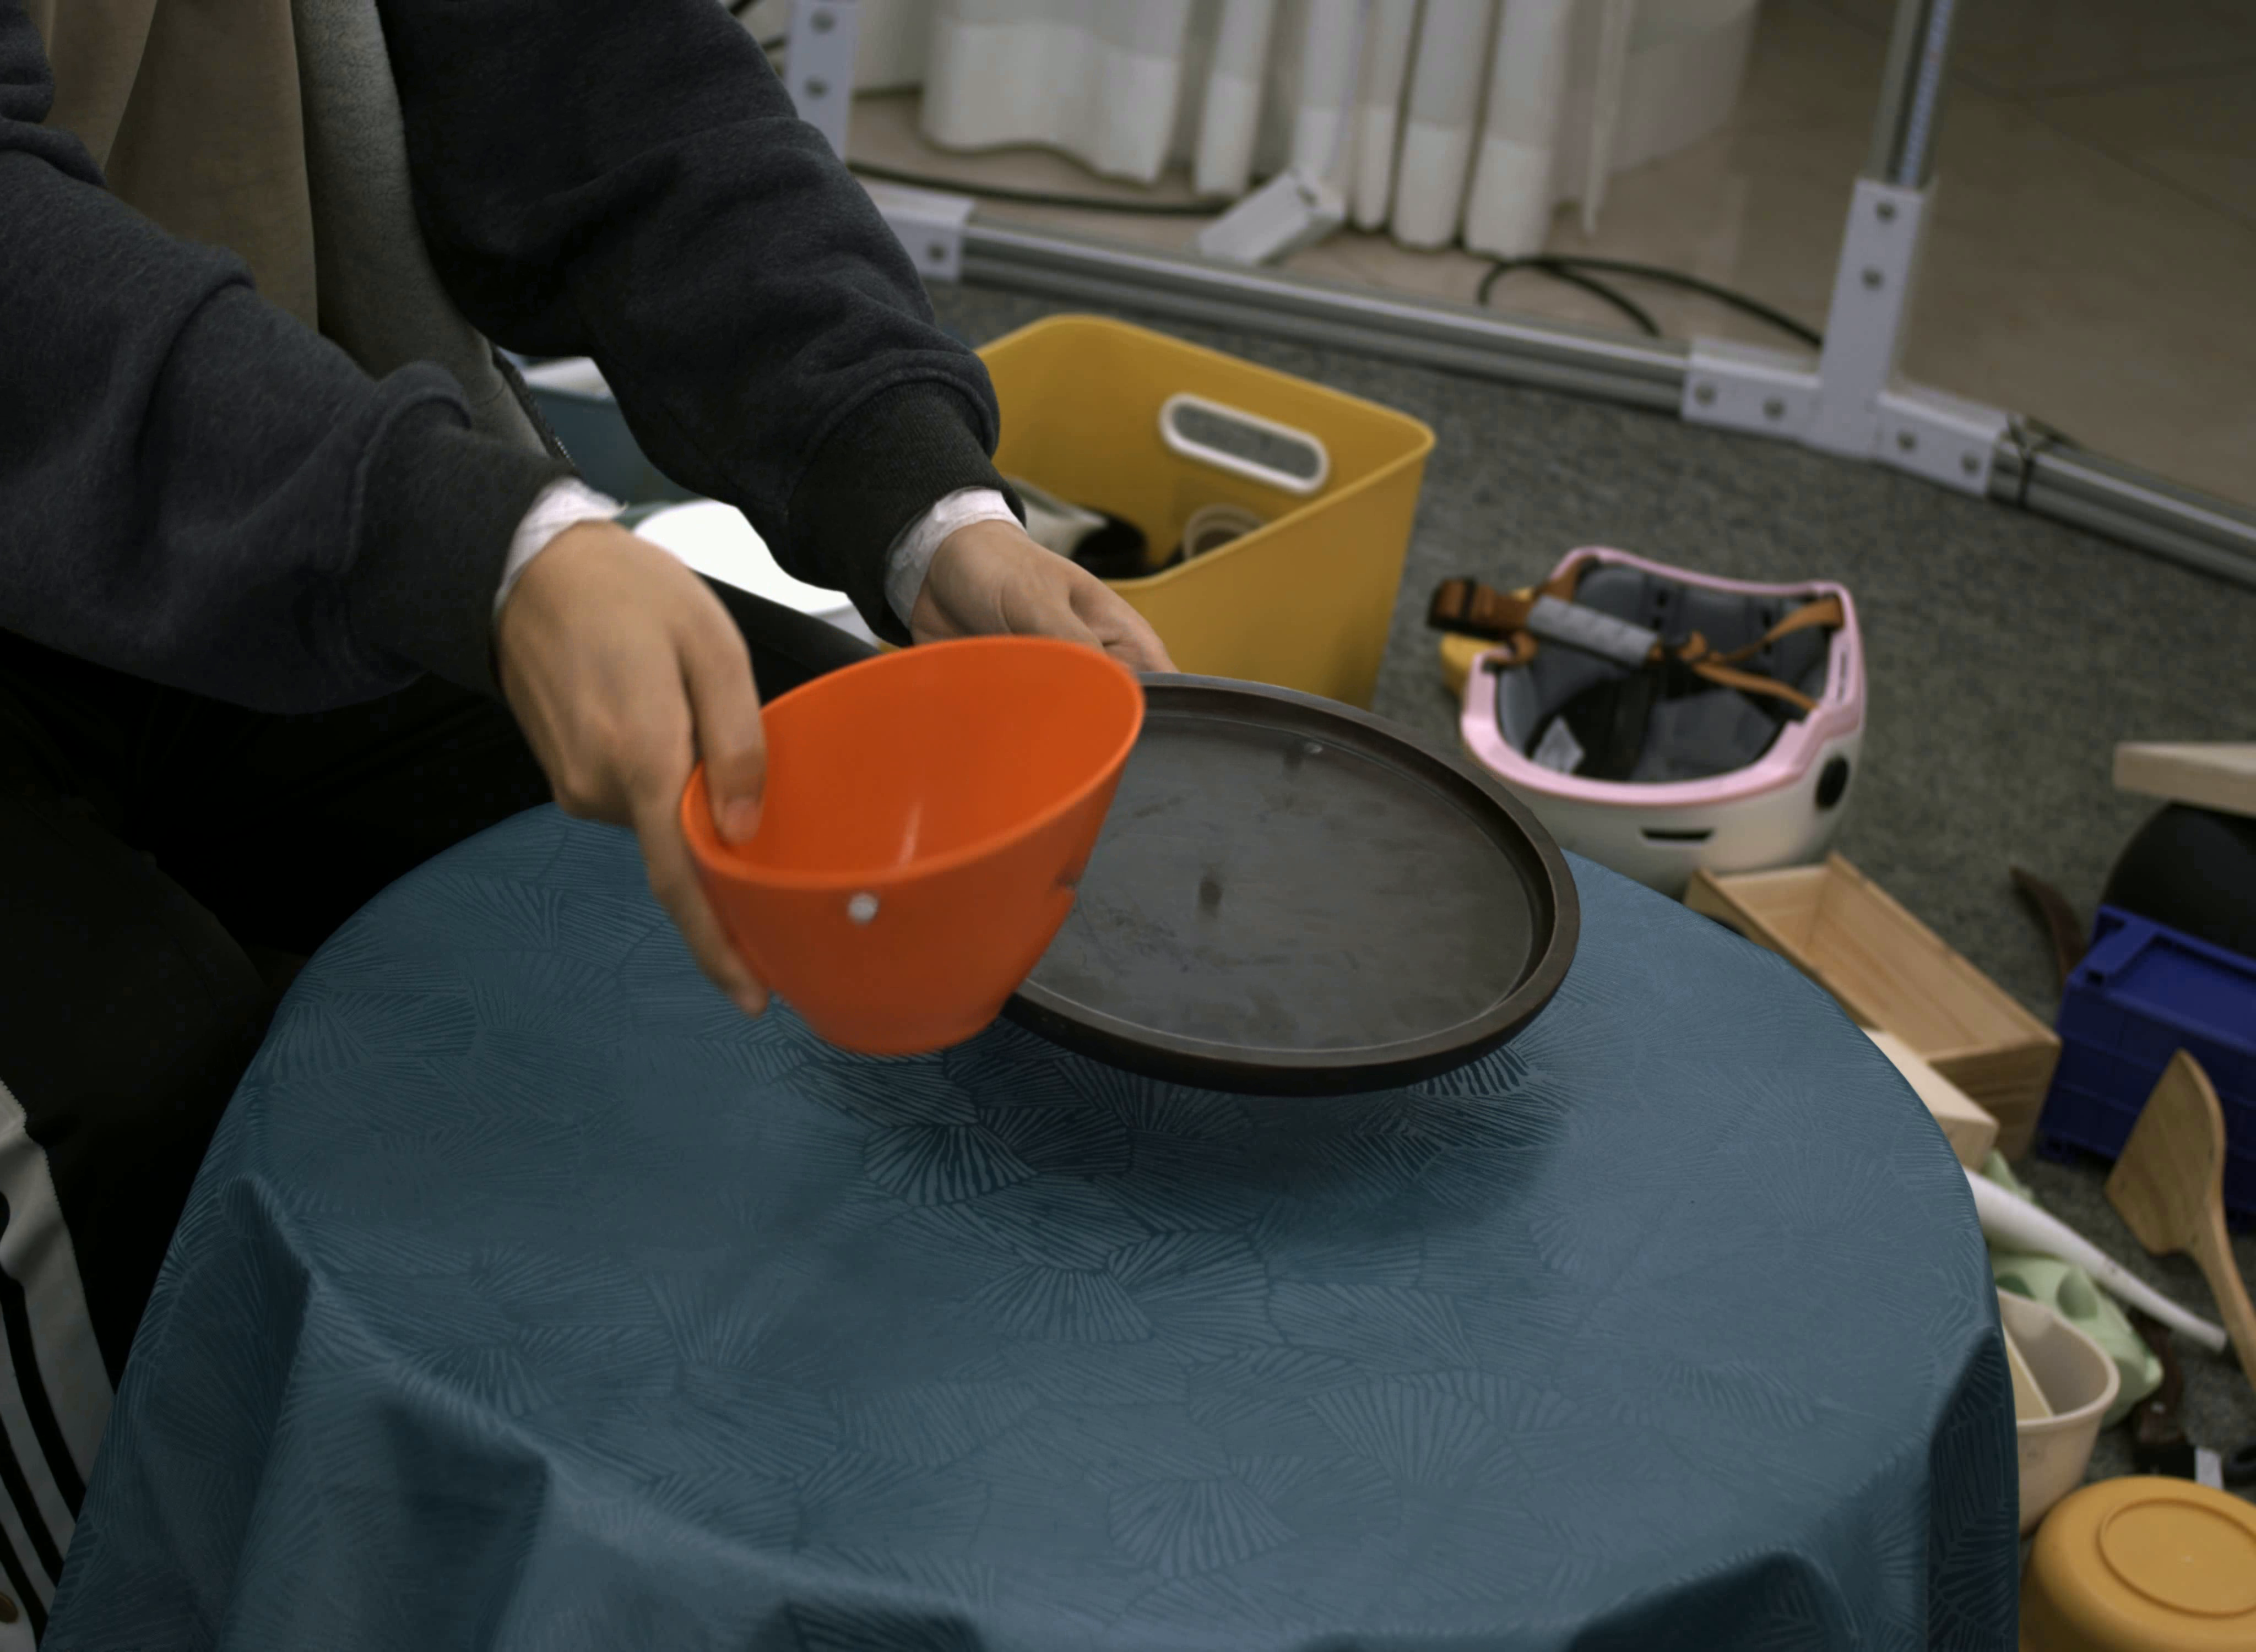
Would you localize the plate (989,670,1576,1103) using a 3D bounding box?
[{"bbox_3d":[0.034,0.020,1.886,0.254,0.029,0.256,6,33,-4],"label":"plate"}]

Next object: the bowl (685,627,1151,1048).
[{"bbox_3d":[-0.063,0.010,1.666,0.147,0.104,0.149,-4,30,2],"label":"bowl"}]
